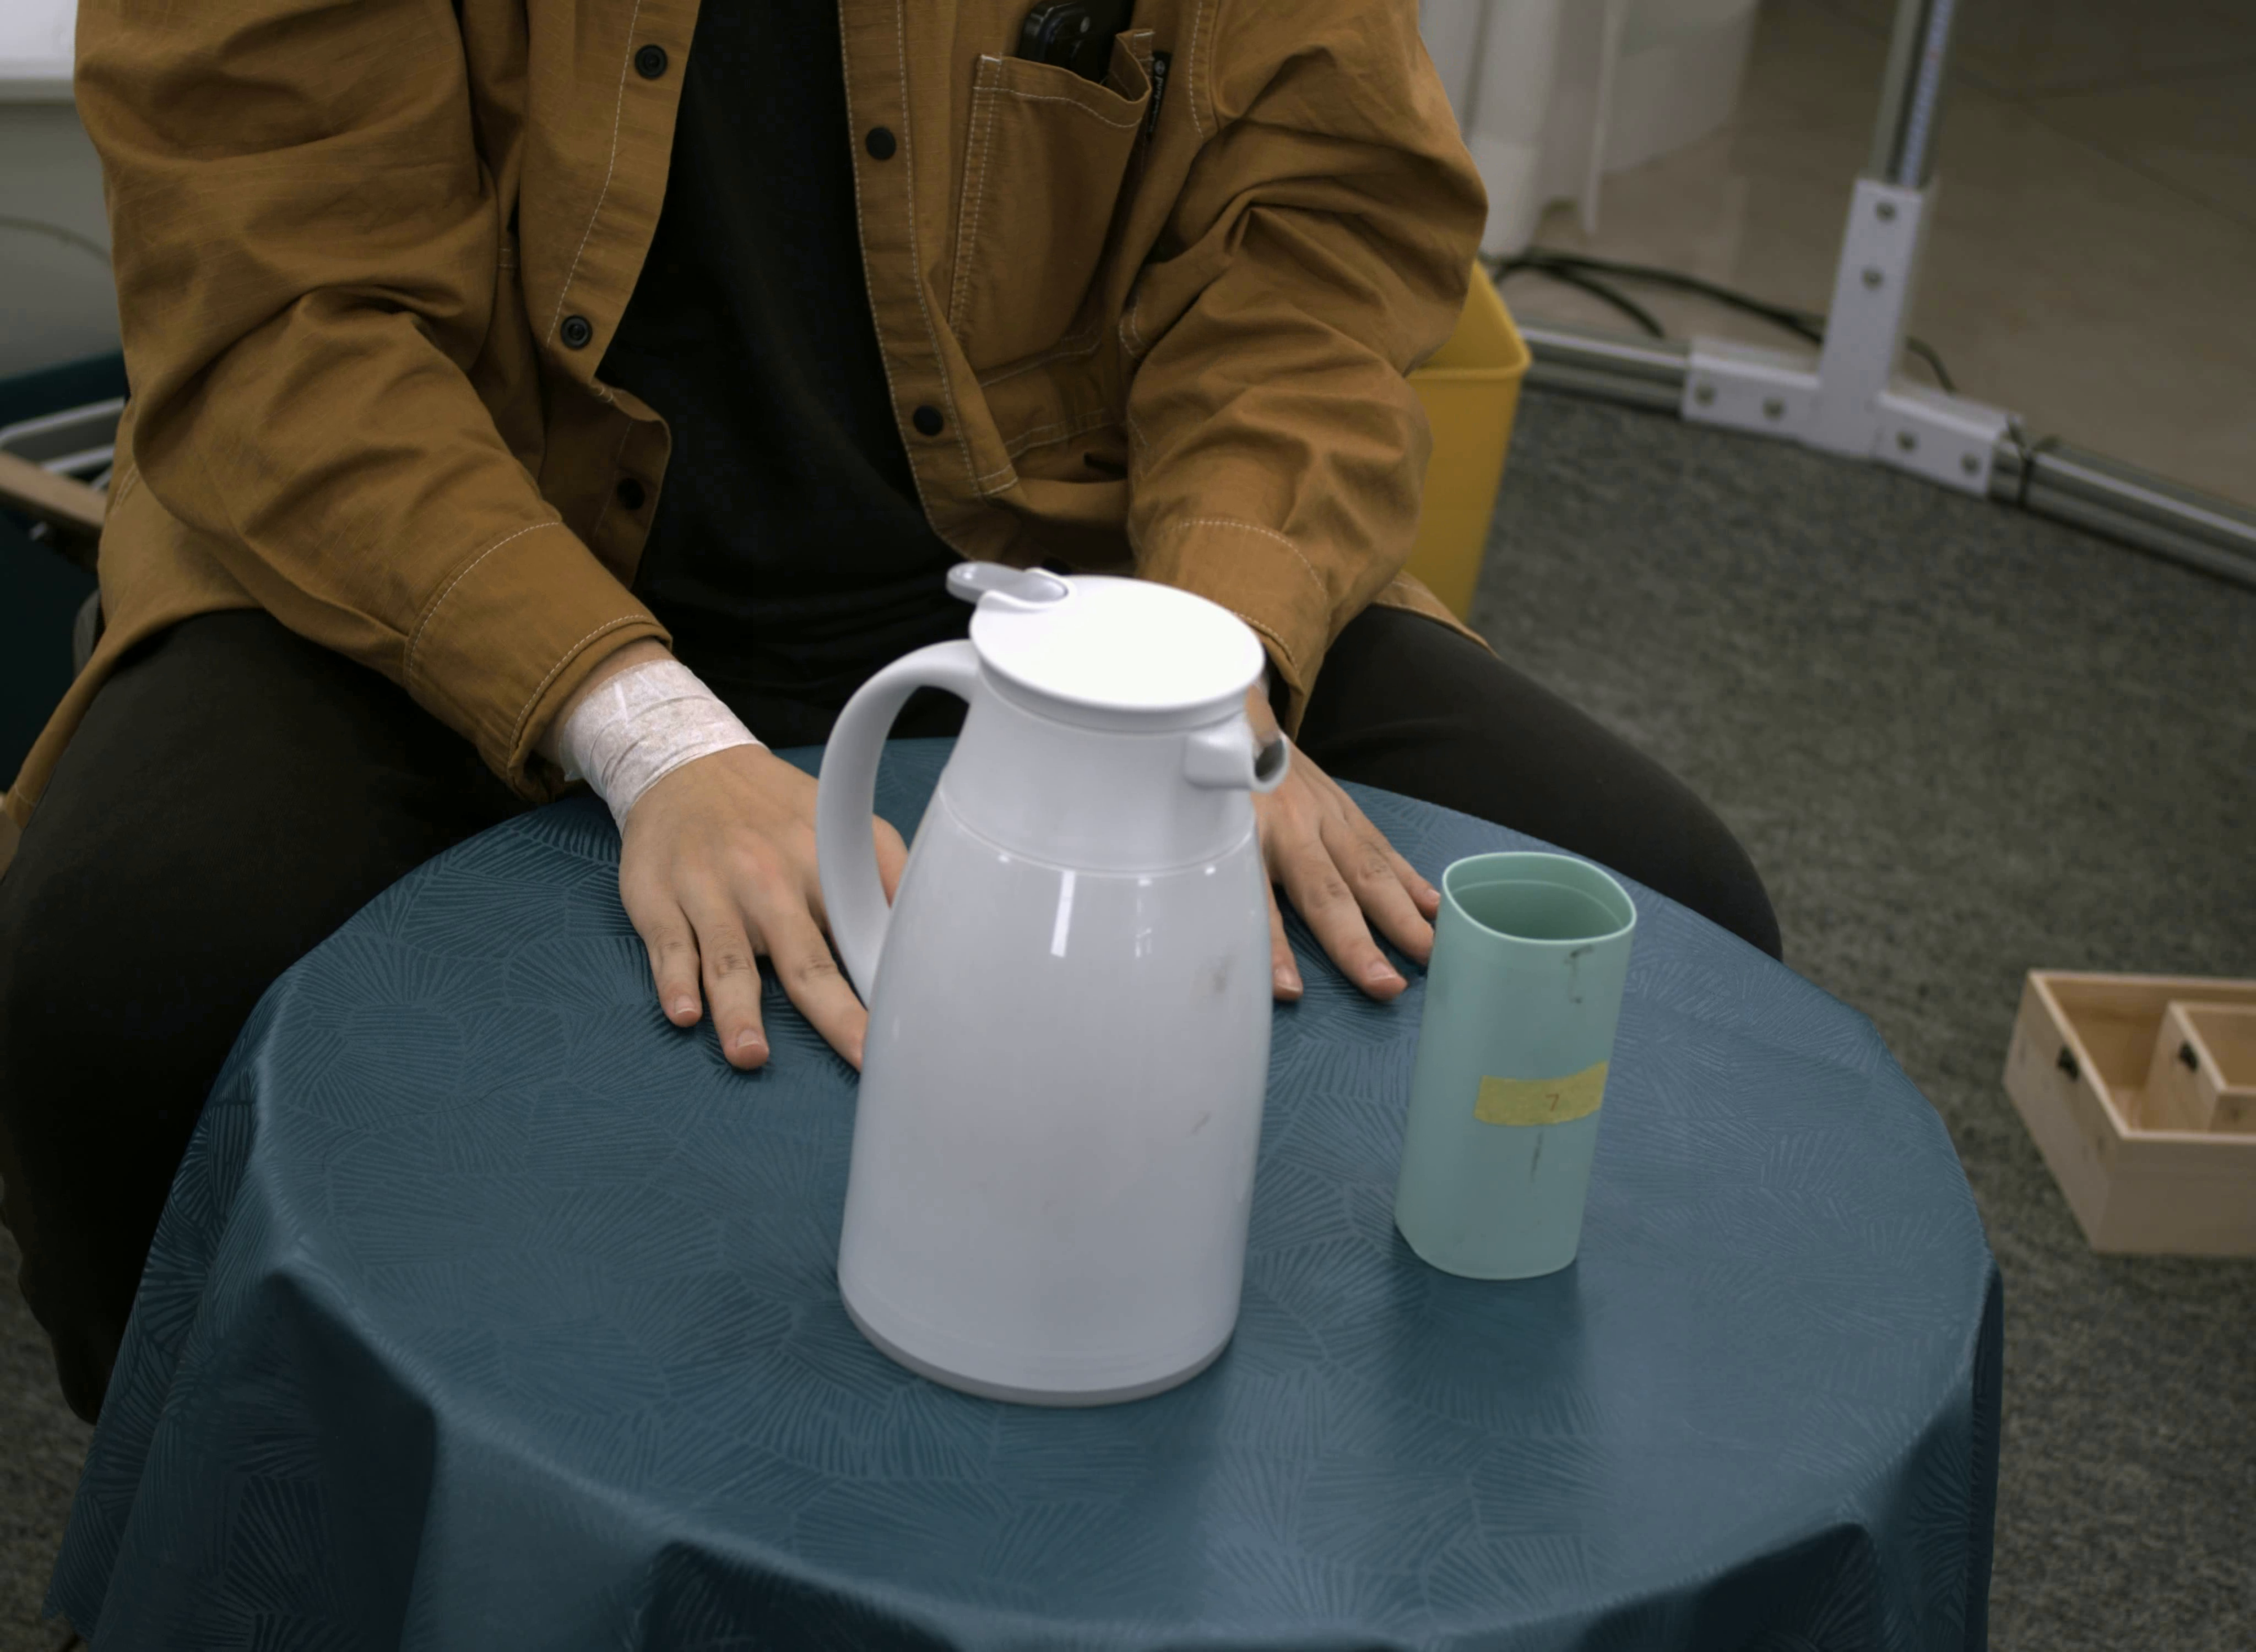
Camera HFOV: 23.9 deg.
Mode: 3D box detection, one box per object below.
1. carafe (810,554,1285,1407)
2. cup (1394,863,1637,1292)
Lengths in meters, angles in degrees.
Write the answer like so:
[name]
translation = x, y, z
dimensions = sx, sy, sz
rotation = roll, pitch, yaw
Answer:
[carafe]
translation = -0.033, 0.039, 1.693
dimensions = 0.169, 0.248, 0.132
rotation = 22, 31, 30
[cup]
translation = 0.128, 0.083, 1.777
dimensions = 0.066, 0.132, 0.067
rotation = 6, 27, -3
